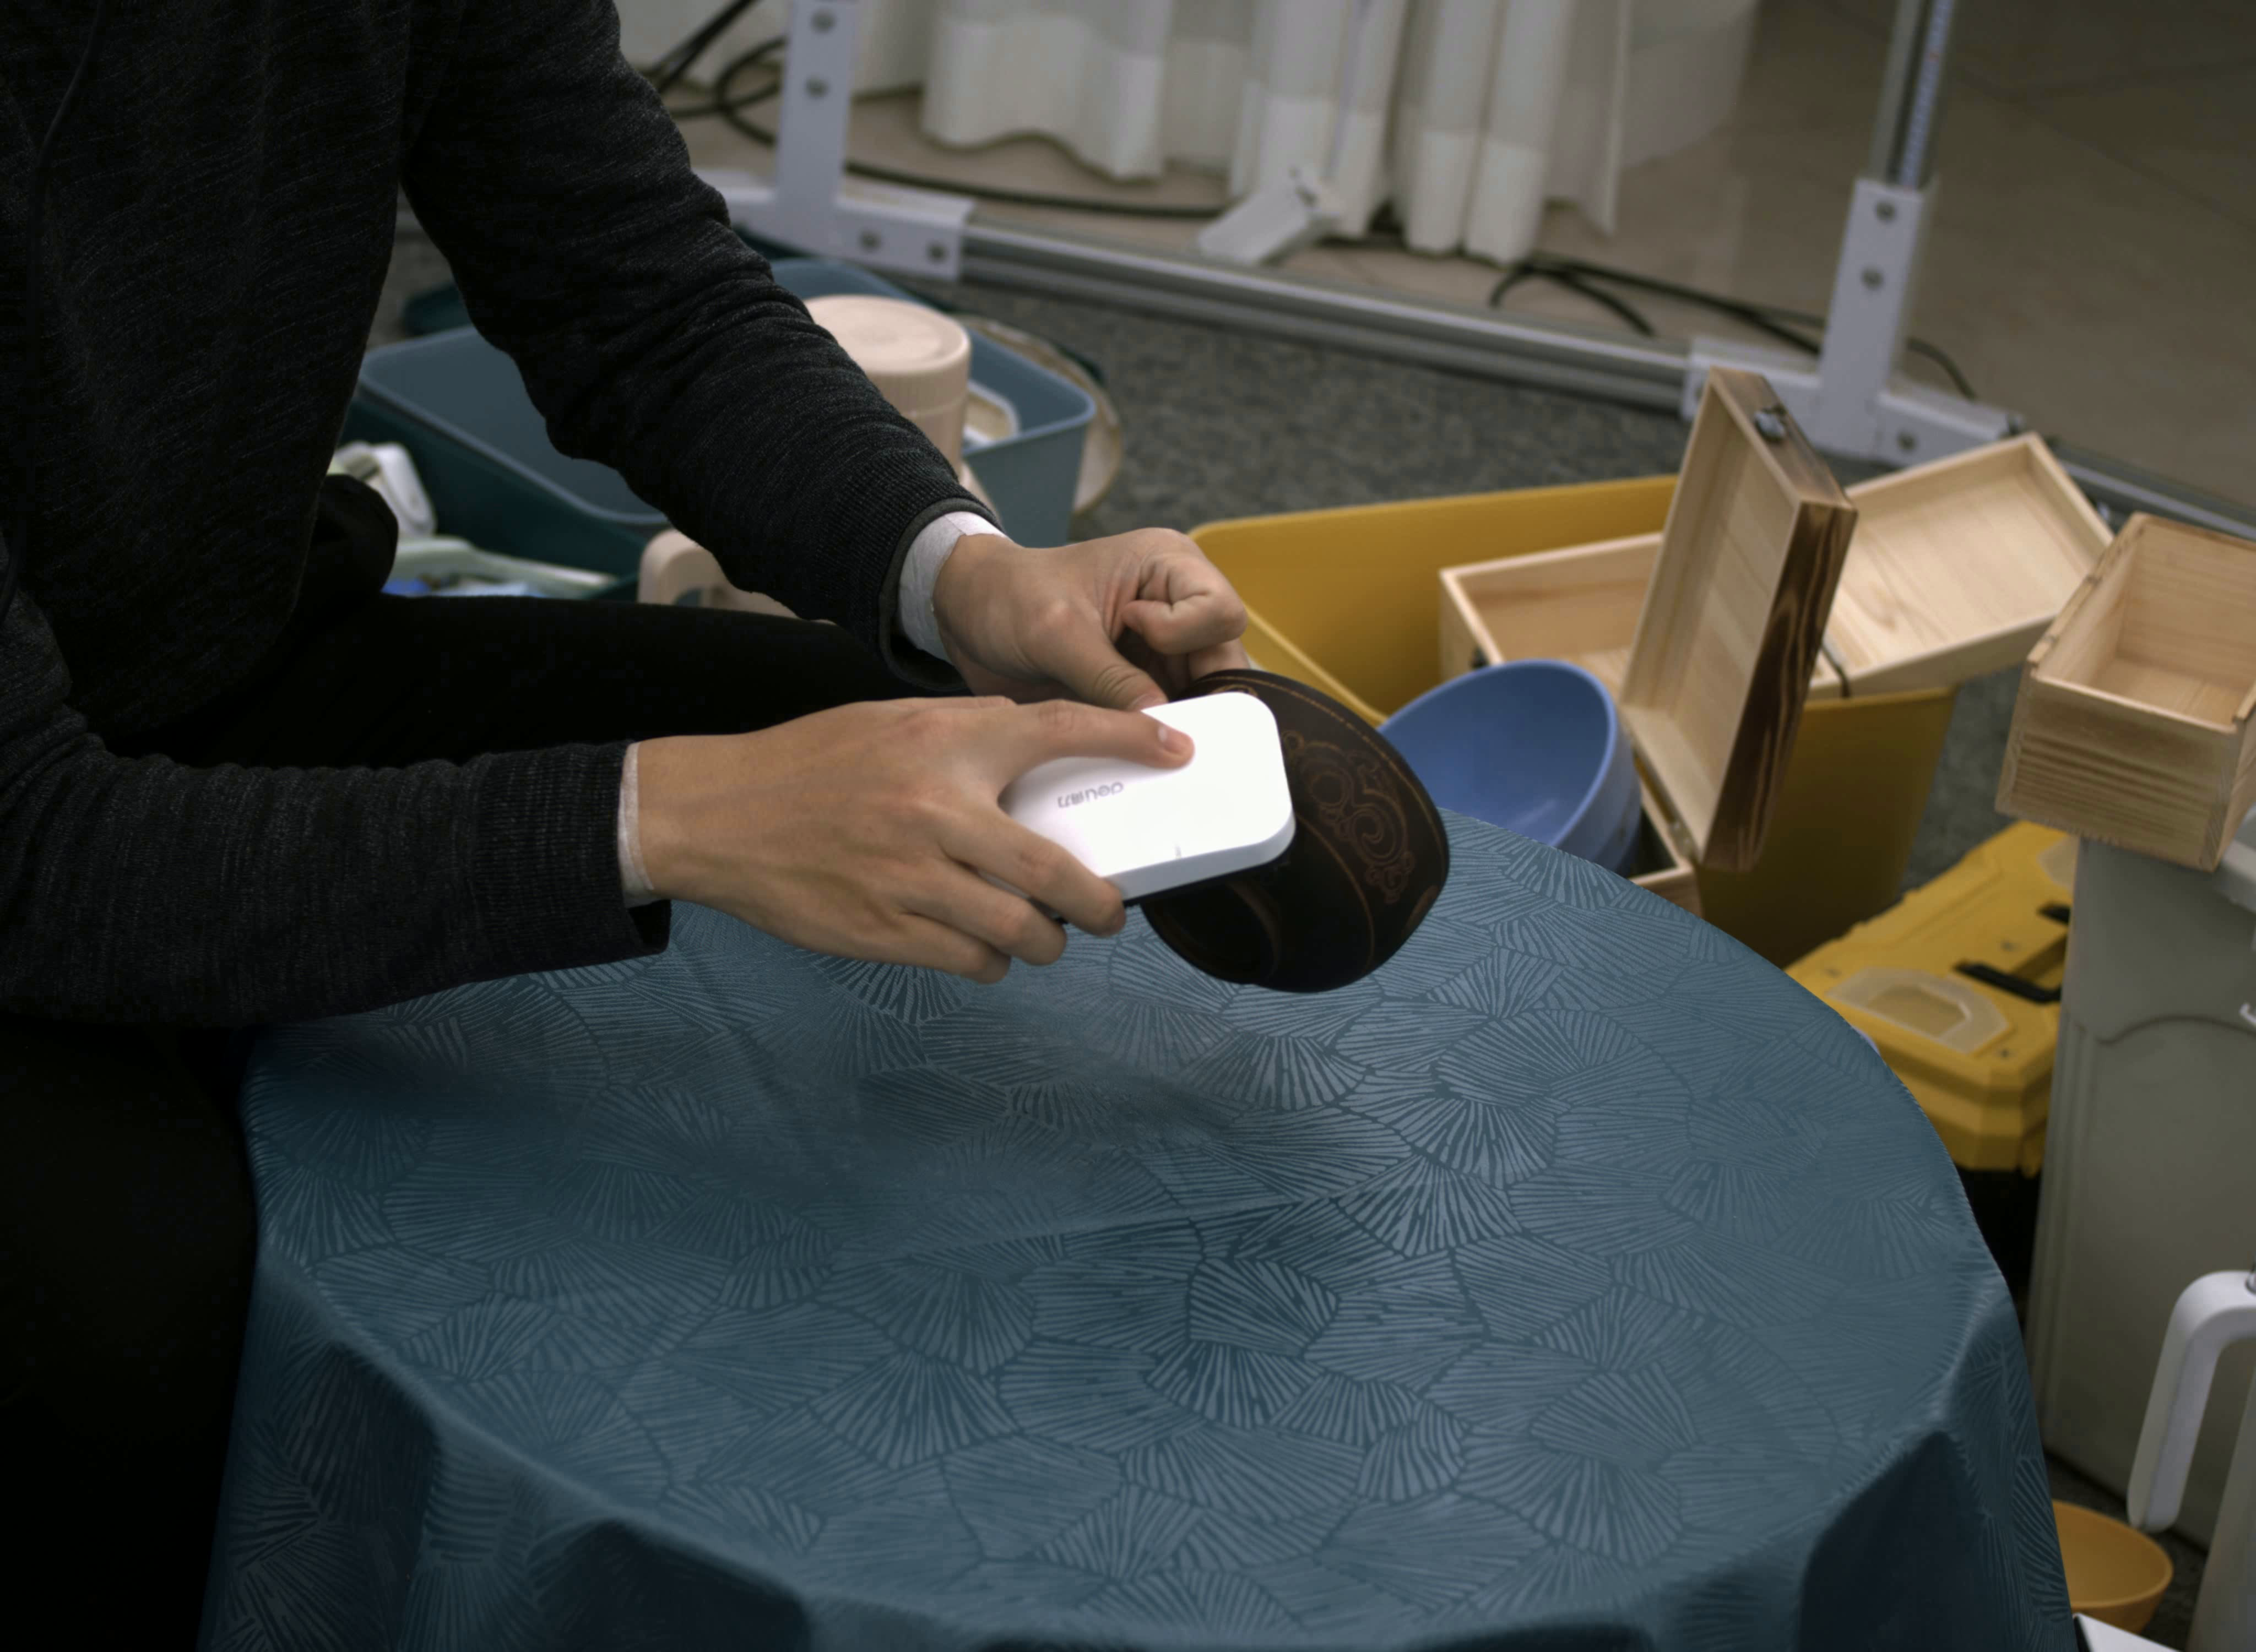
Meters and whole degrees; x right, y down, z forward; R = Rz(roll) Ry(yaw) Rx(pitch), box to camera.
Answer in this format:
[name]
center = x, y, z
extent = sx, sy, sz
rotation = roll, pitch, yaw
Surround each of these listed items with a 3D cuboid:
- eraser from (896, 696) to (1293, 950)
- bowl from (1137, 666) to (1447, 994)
[eraser]
center = -0.011, -0.002, 1.763
extent = 0.131, 0.034, 0.064
rotation = -14, 56, 7
[bowl]
center = 0.043, 0.011, 1.822
extent = 0.118, 0.117, 0.070
rotation = 22, 55, 27
